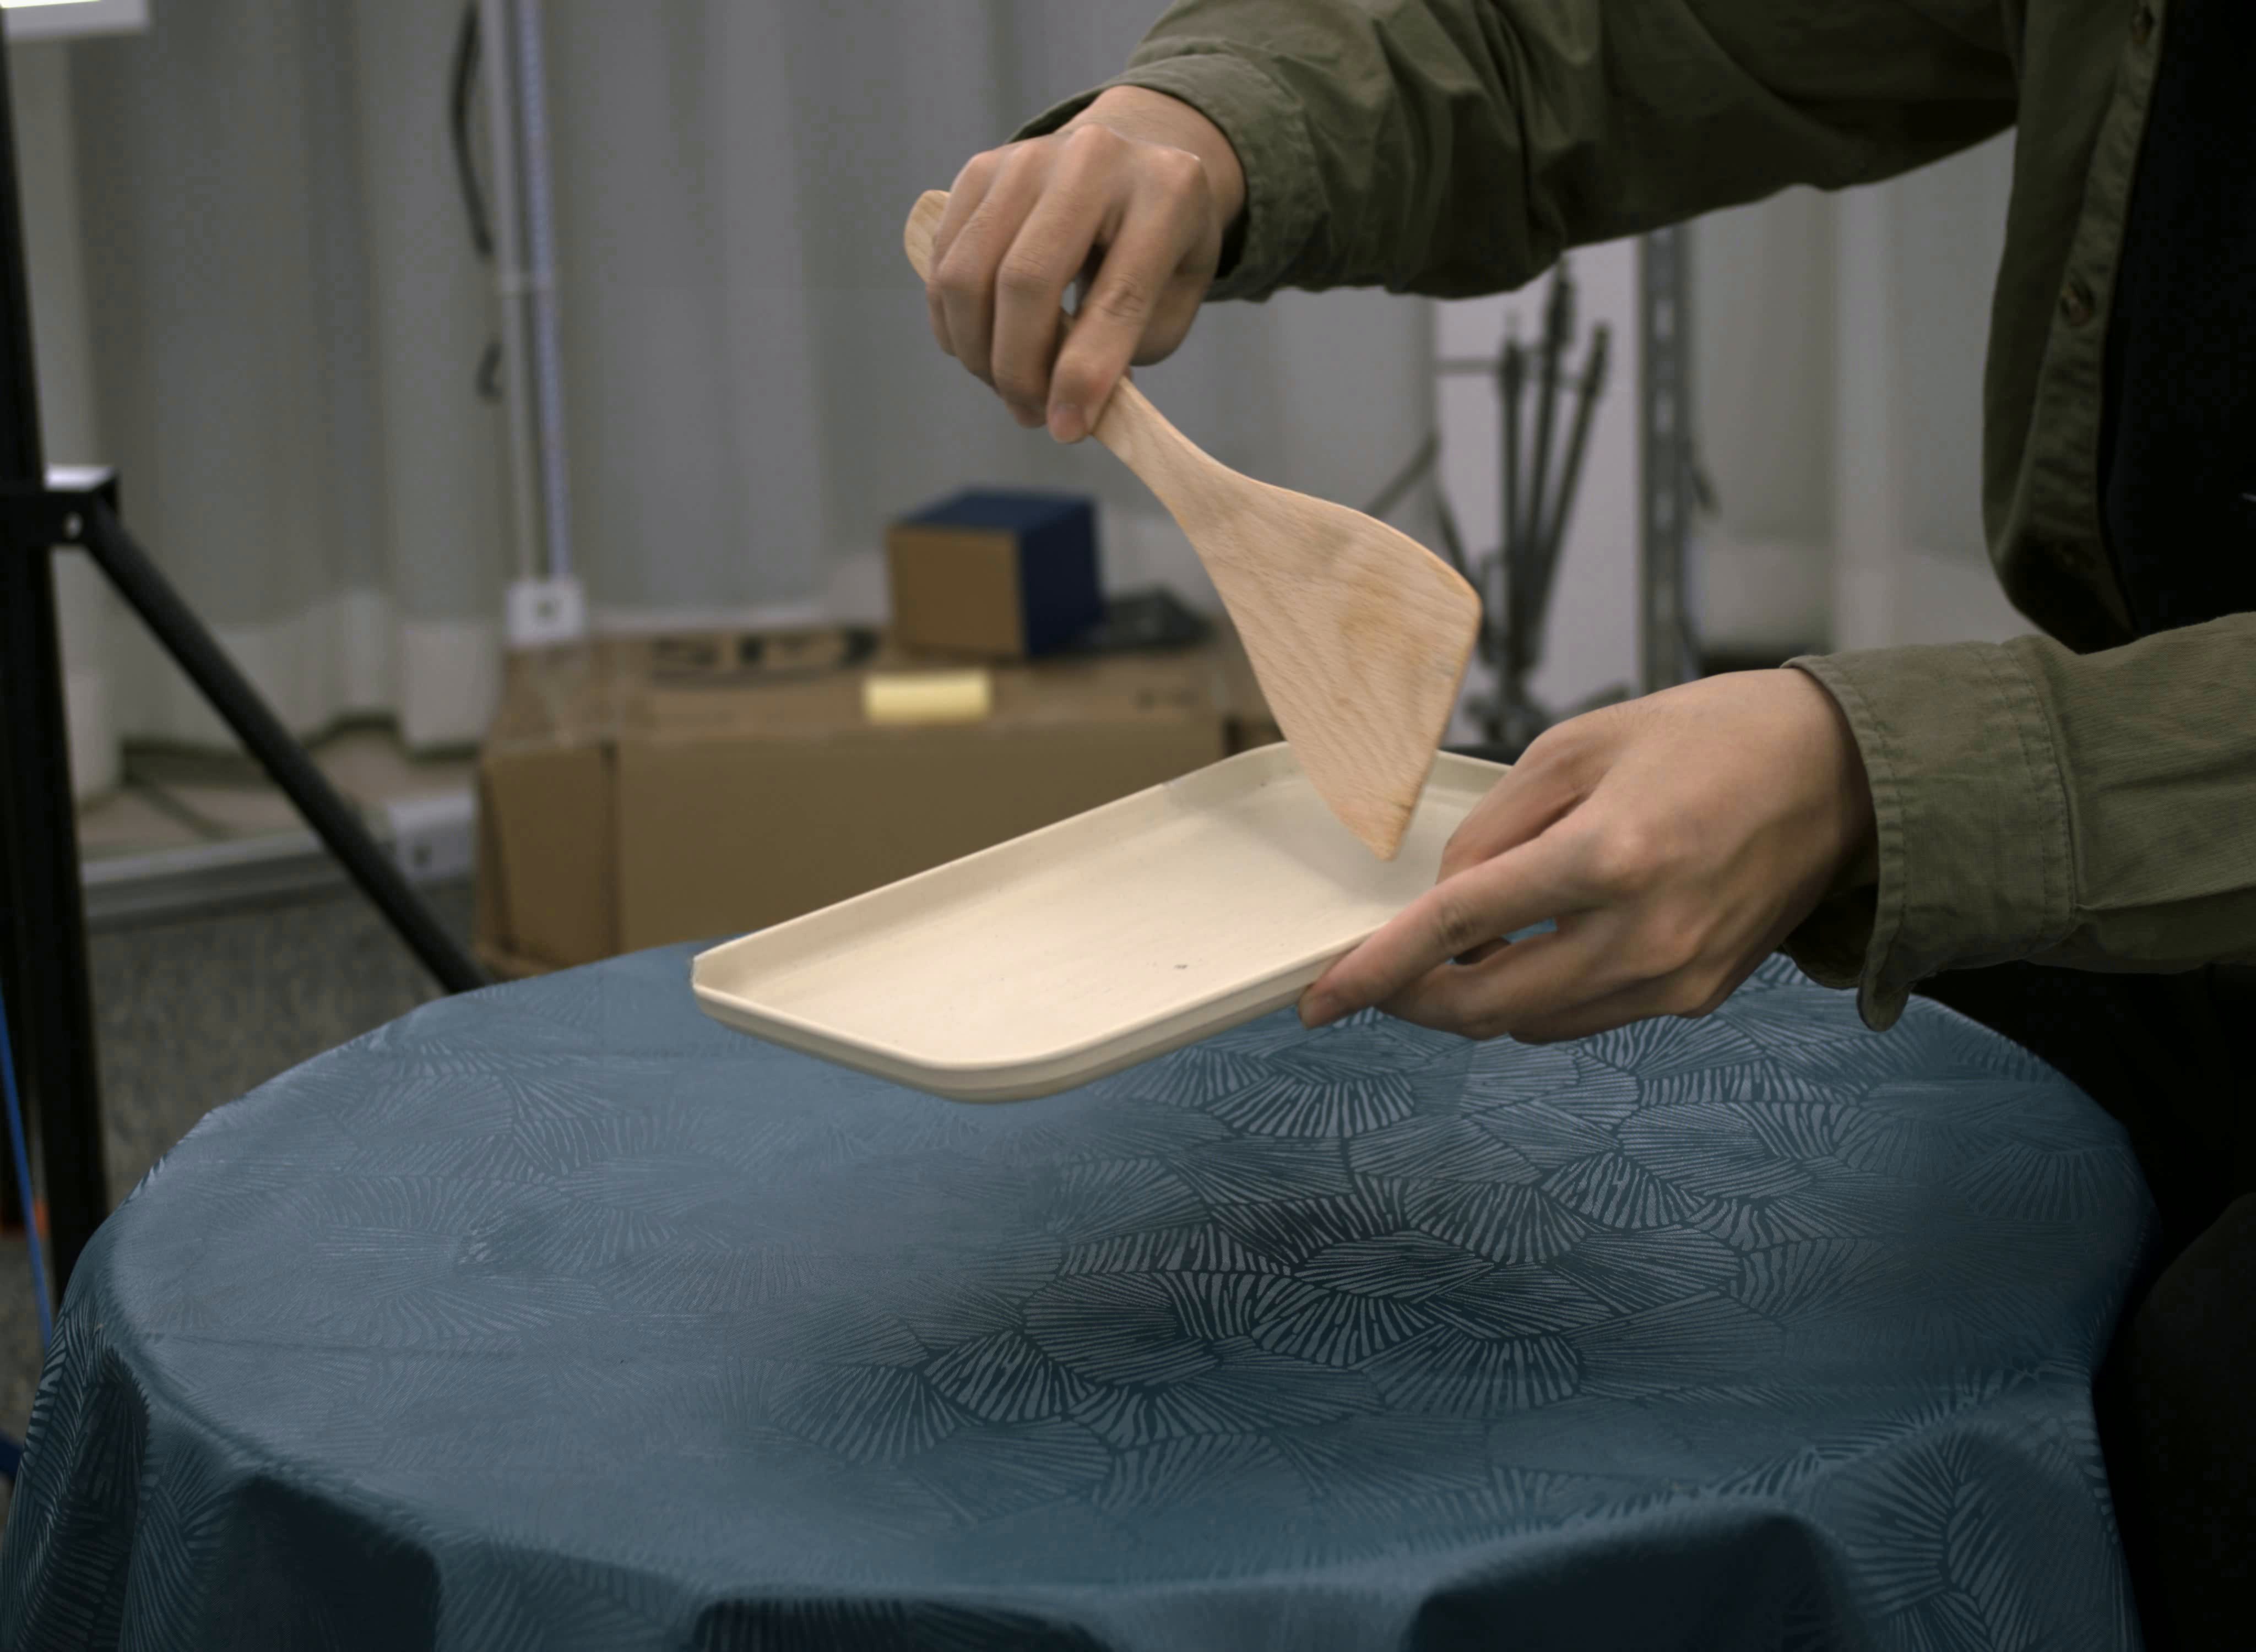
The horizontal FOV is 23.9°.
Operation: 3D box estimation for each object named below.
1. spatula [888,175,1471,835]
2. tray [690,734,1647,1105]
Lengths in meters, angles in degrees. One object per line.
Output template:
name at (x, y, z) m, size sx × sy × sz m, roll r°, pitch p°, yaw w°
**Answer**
spatula at (0.007, -0.112, 1.556) m, size 0.016 × 0.080 × 0.335 m, roll 7°, pitch 27°, yaw -38°
tray at (0.012, 0.024, 1.459) m, size 0.235 × 0.017 × 0.175 m, roll -20°, pitch 20°, yaw -30°
